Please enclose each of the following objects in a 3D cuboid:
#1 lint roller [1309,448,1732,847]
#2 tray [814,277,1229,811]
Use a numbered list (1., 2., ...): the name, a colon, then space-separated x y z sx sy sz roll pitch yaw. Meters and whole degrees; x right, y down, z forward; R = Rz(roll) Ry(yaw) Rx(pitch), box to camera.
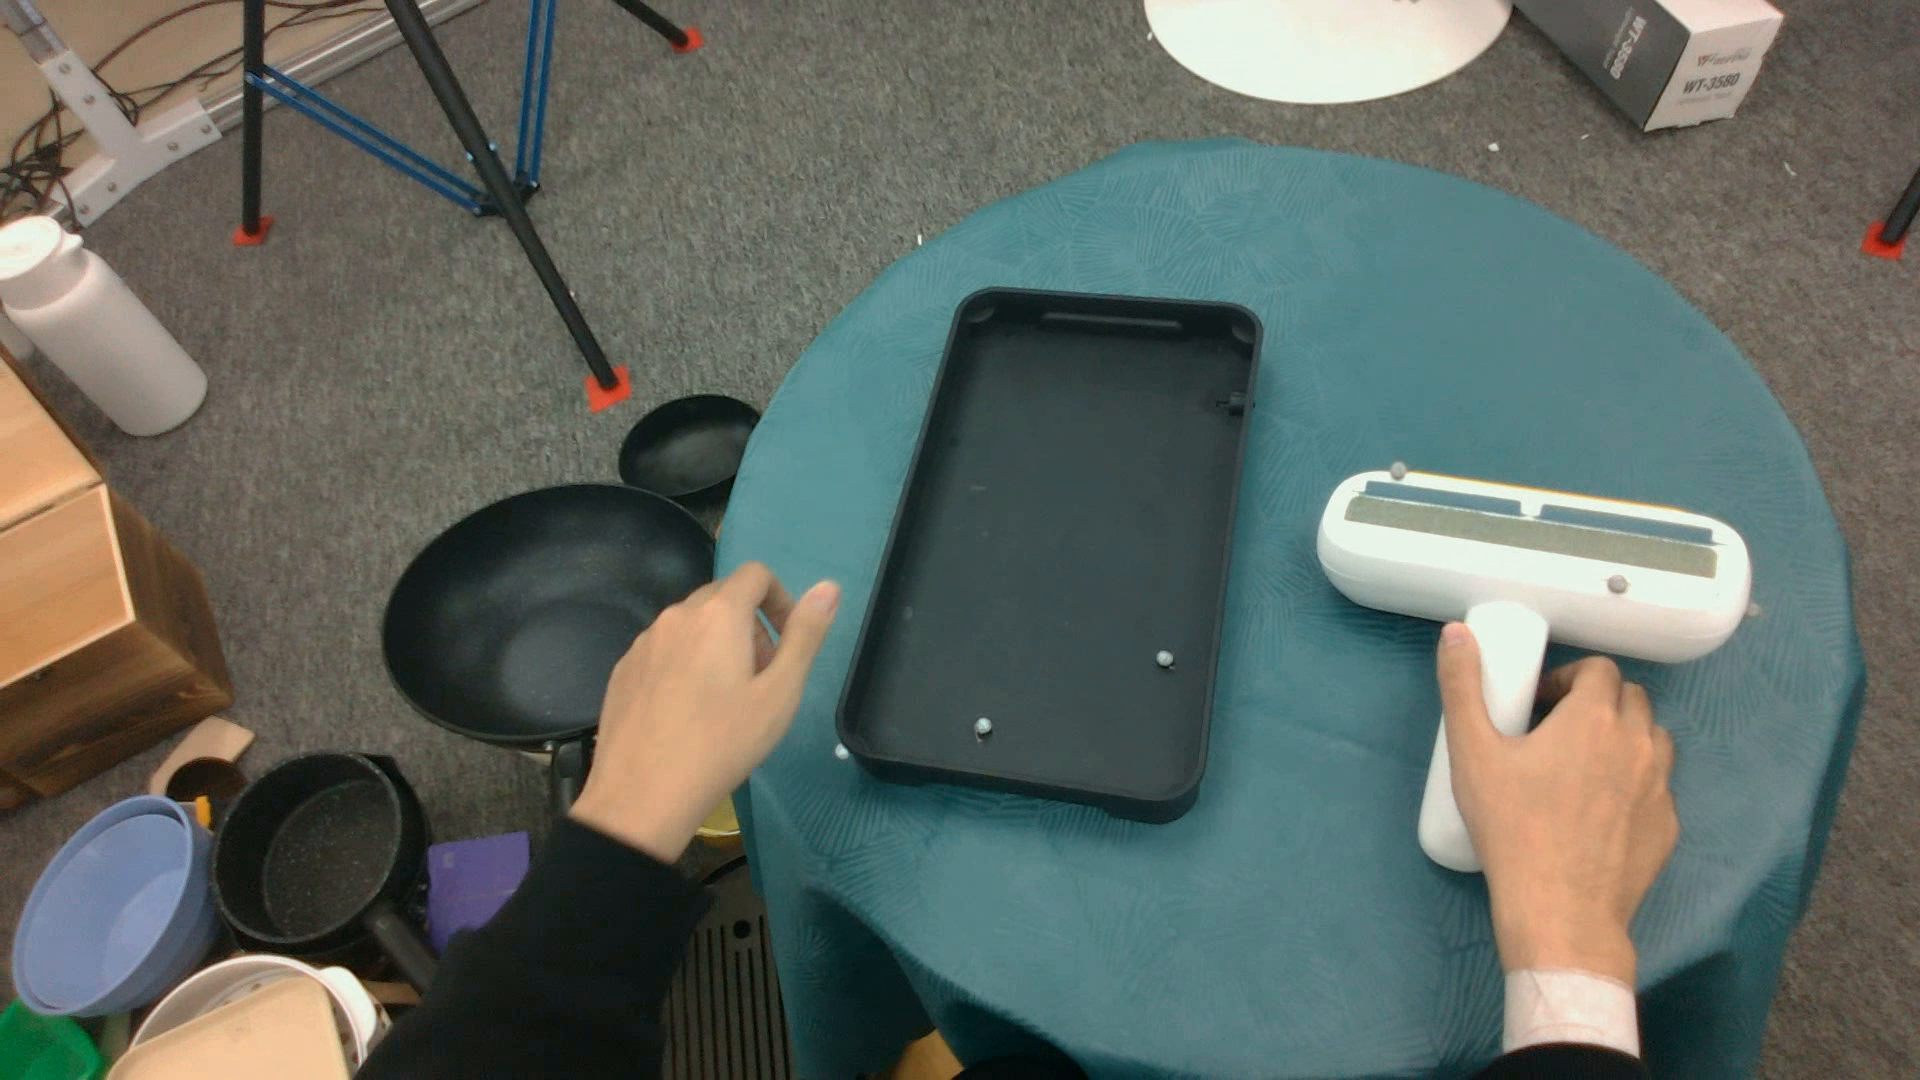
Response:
1. lint roller: 0.245 0.051 0.654 0.192 0.074 0.193 16 62 24
2. tray: 0.043 -0.013 0.746 0.184 0.037 0.319 5 57 11
